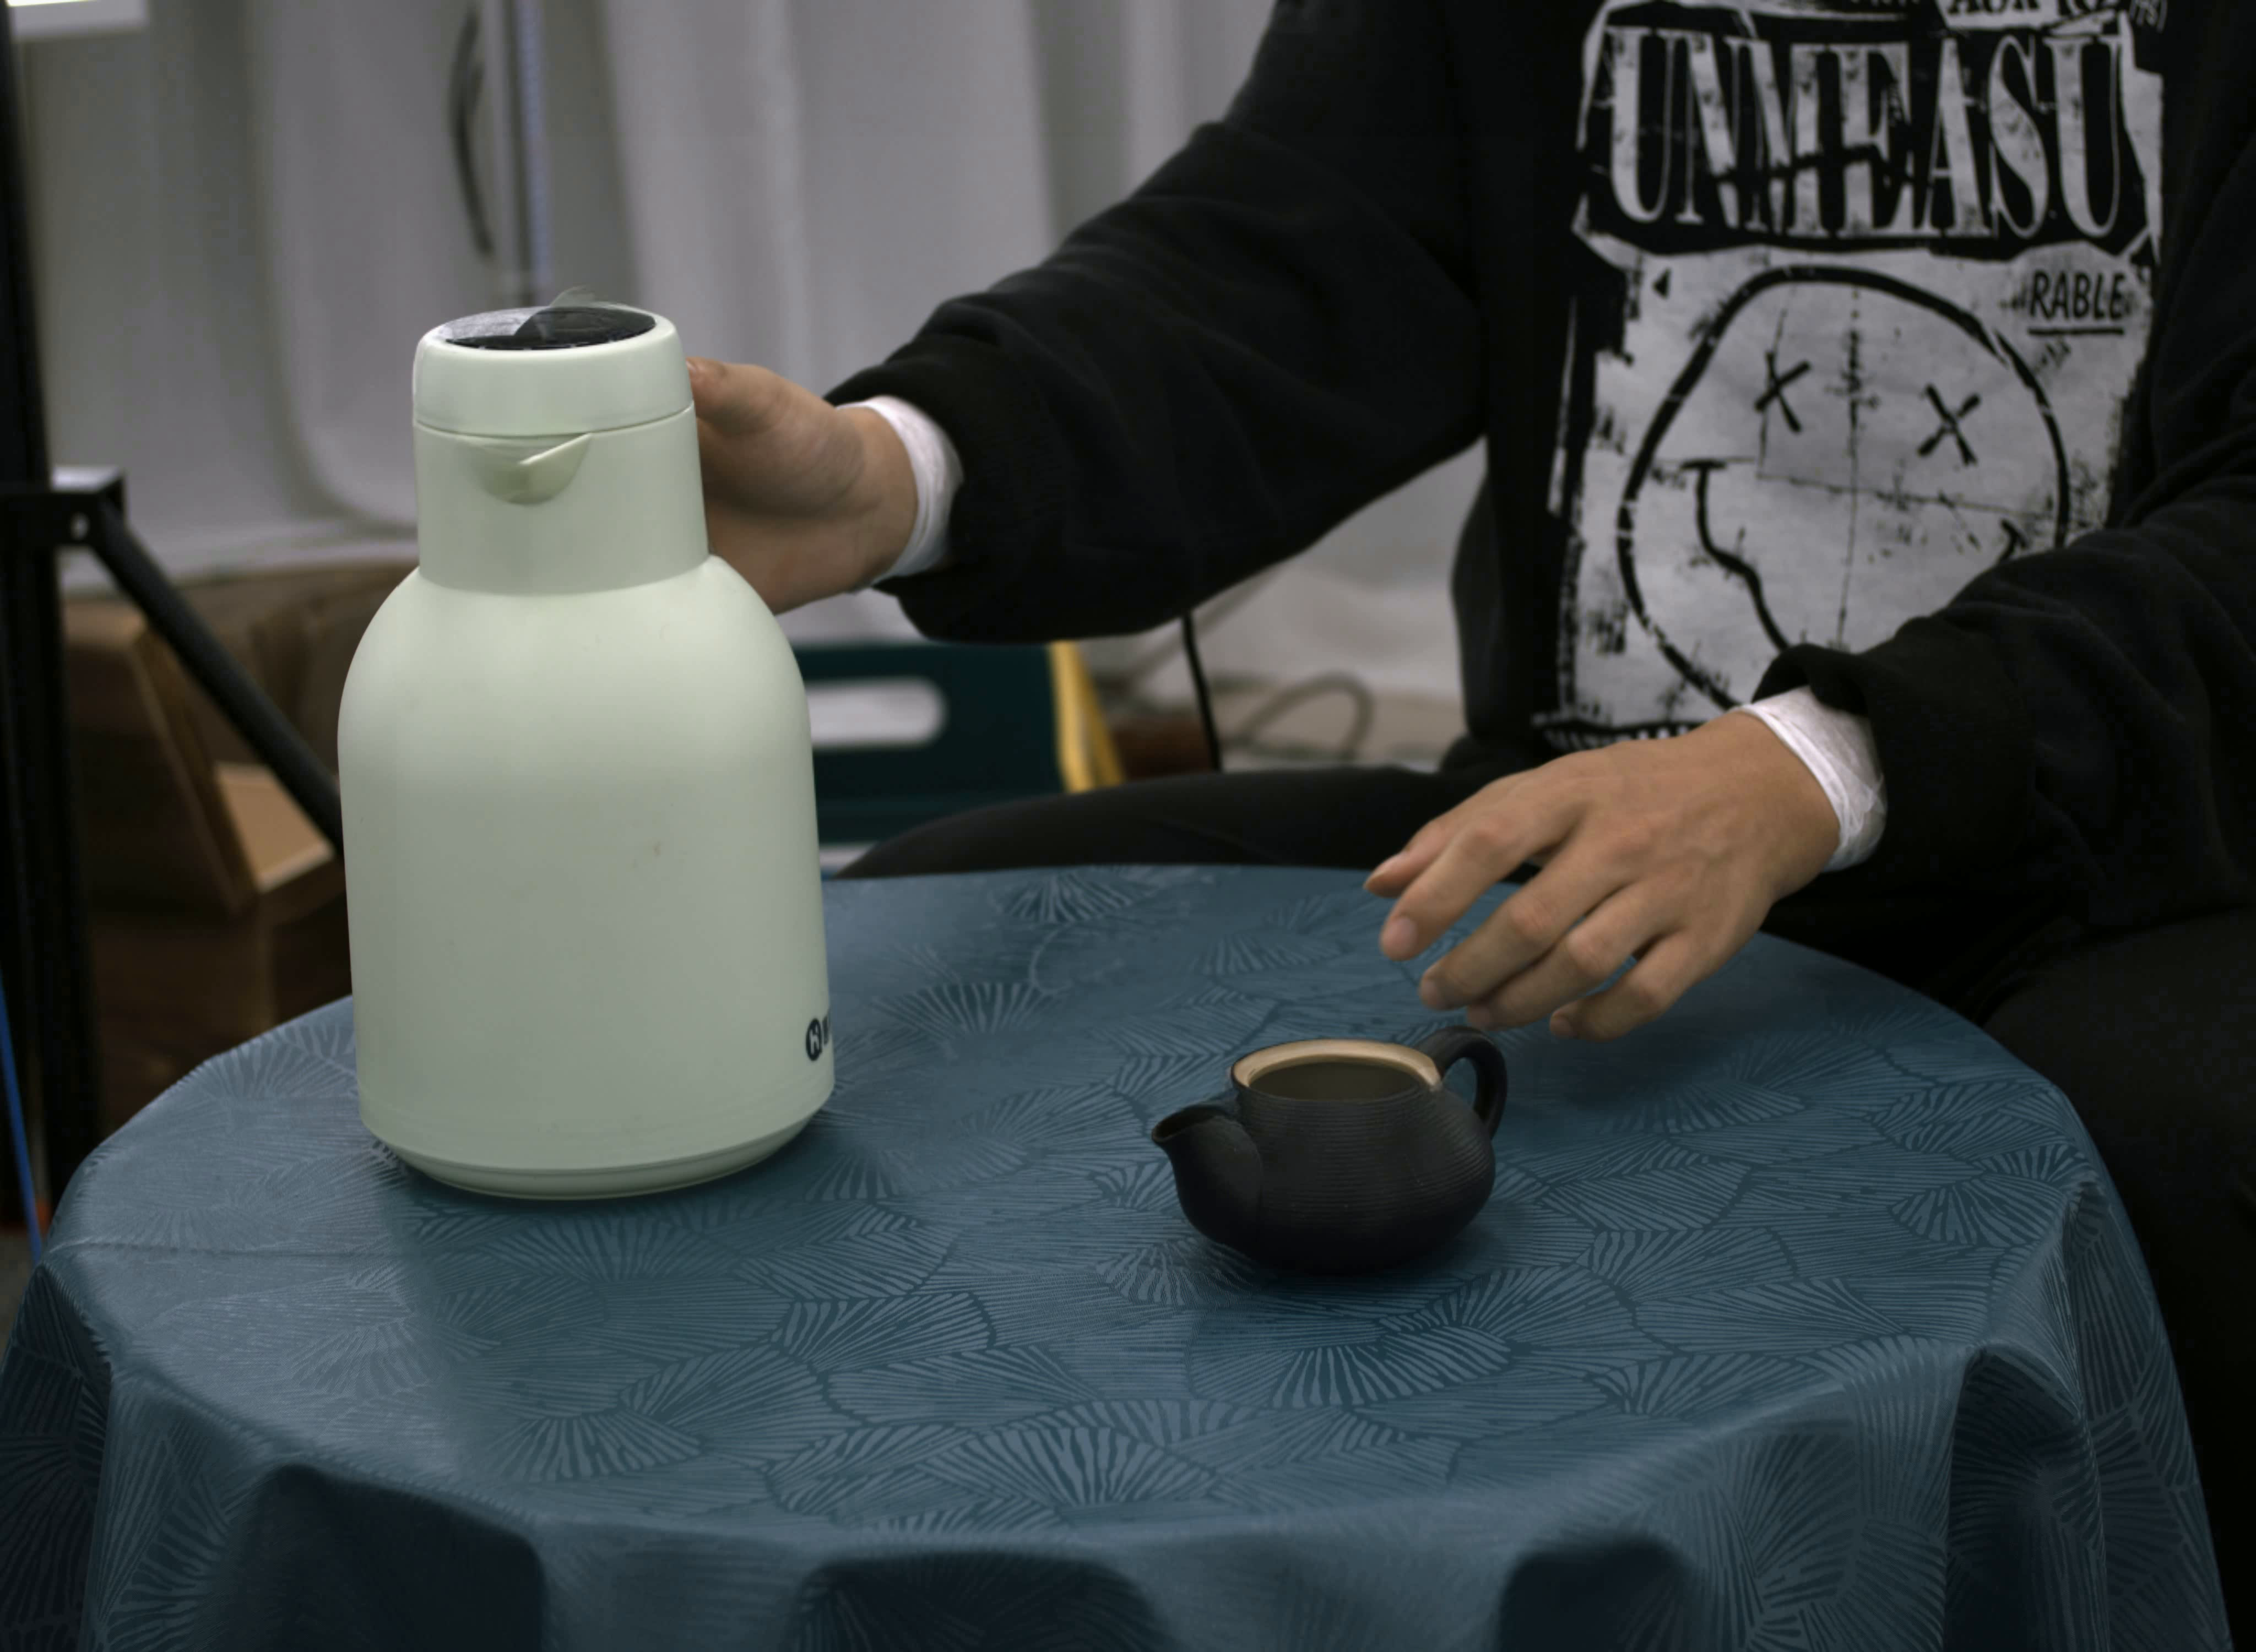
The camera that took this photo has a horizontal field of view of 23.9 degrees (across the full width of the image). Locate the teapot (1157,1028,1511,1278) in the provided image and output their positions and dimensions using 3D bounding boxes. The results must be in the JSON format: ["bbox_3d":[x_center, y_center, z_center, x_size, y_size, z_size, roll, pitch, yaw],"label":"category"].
[{"bbox_3d":[0.060,0.094,1.497,0.130,0.053,0.093,-15,22,-38],"label":"teapot"}]

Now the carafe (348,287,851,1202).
[{"bbox_3d":[-0.161,-0.029,1.610,0.144,0.257,0.186,-2,12,9],"label":"carafe"}]
